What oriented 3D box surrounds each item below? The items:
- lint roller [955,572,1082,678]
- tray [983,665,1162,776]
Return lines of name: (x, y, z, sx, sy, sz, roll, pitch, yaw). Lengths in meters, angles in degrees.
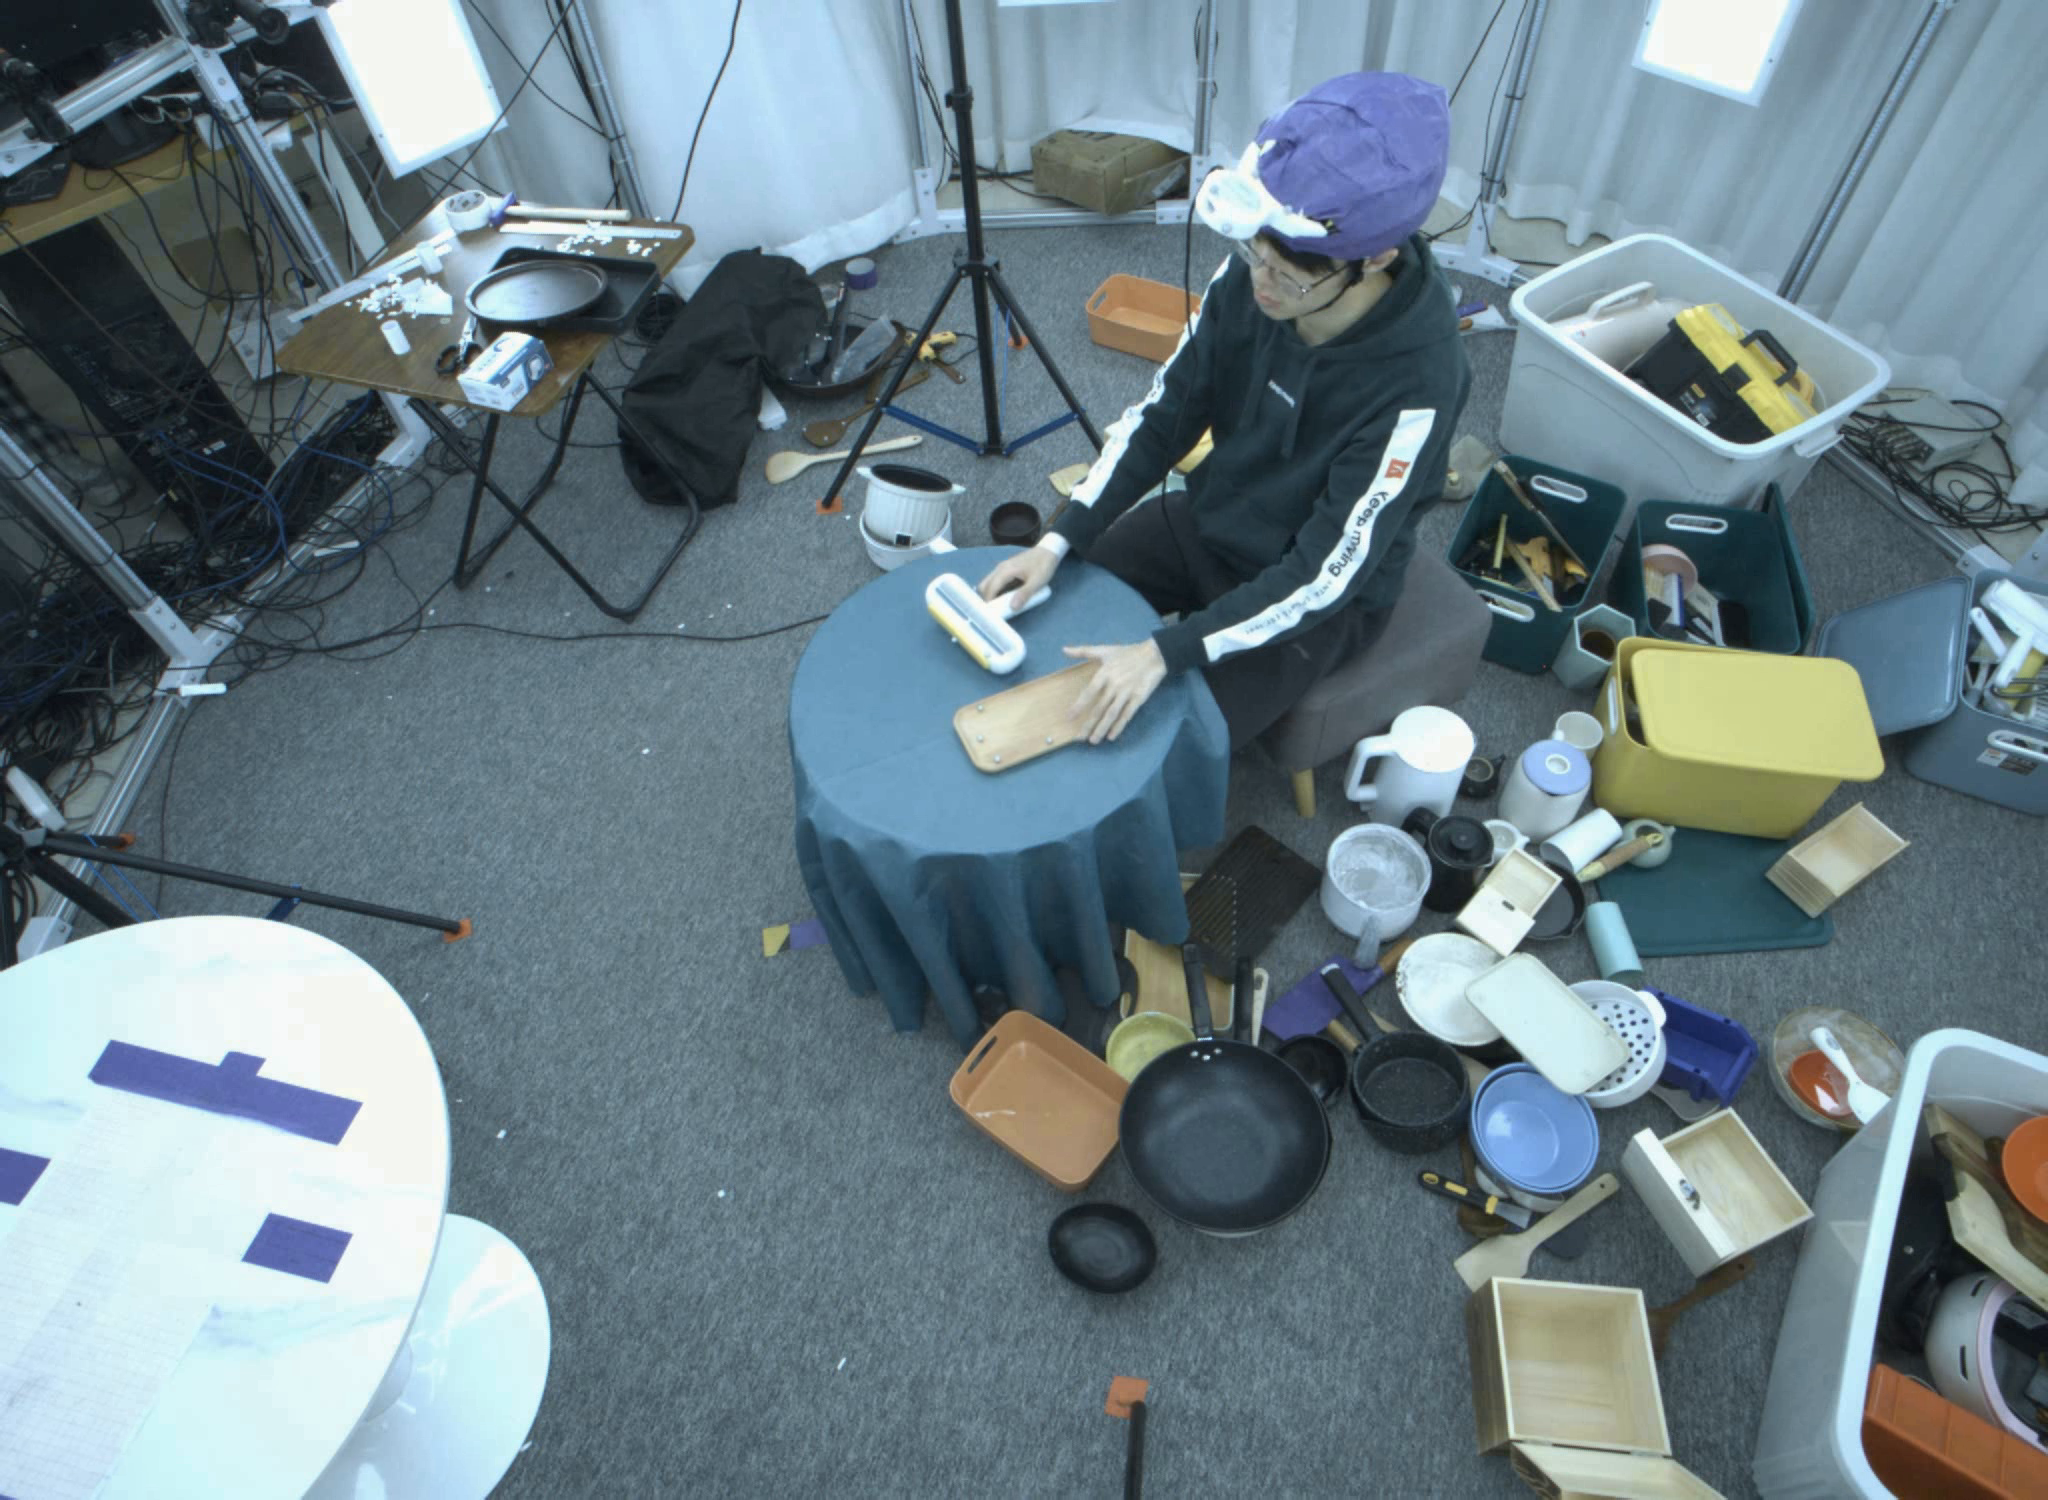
lint roller: (0.013, -0.205, 1.909, 0.195, 0.074, 0.190, -23, 62, -31)
tray: (0.070, -0.043, 1.802, 0.252, 0.023, 0.128, -18, 58, -12)
